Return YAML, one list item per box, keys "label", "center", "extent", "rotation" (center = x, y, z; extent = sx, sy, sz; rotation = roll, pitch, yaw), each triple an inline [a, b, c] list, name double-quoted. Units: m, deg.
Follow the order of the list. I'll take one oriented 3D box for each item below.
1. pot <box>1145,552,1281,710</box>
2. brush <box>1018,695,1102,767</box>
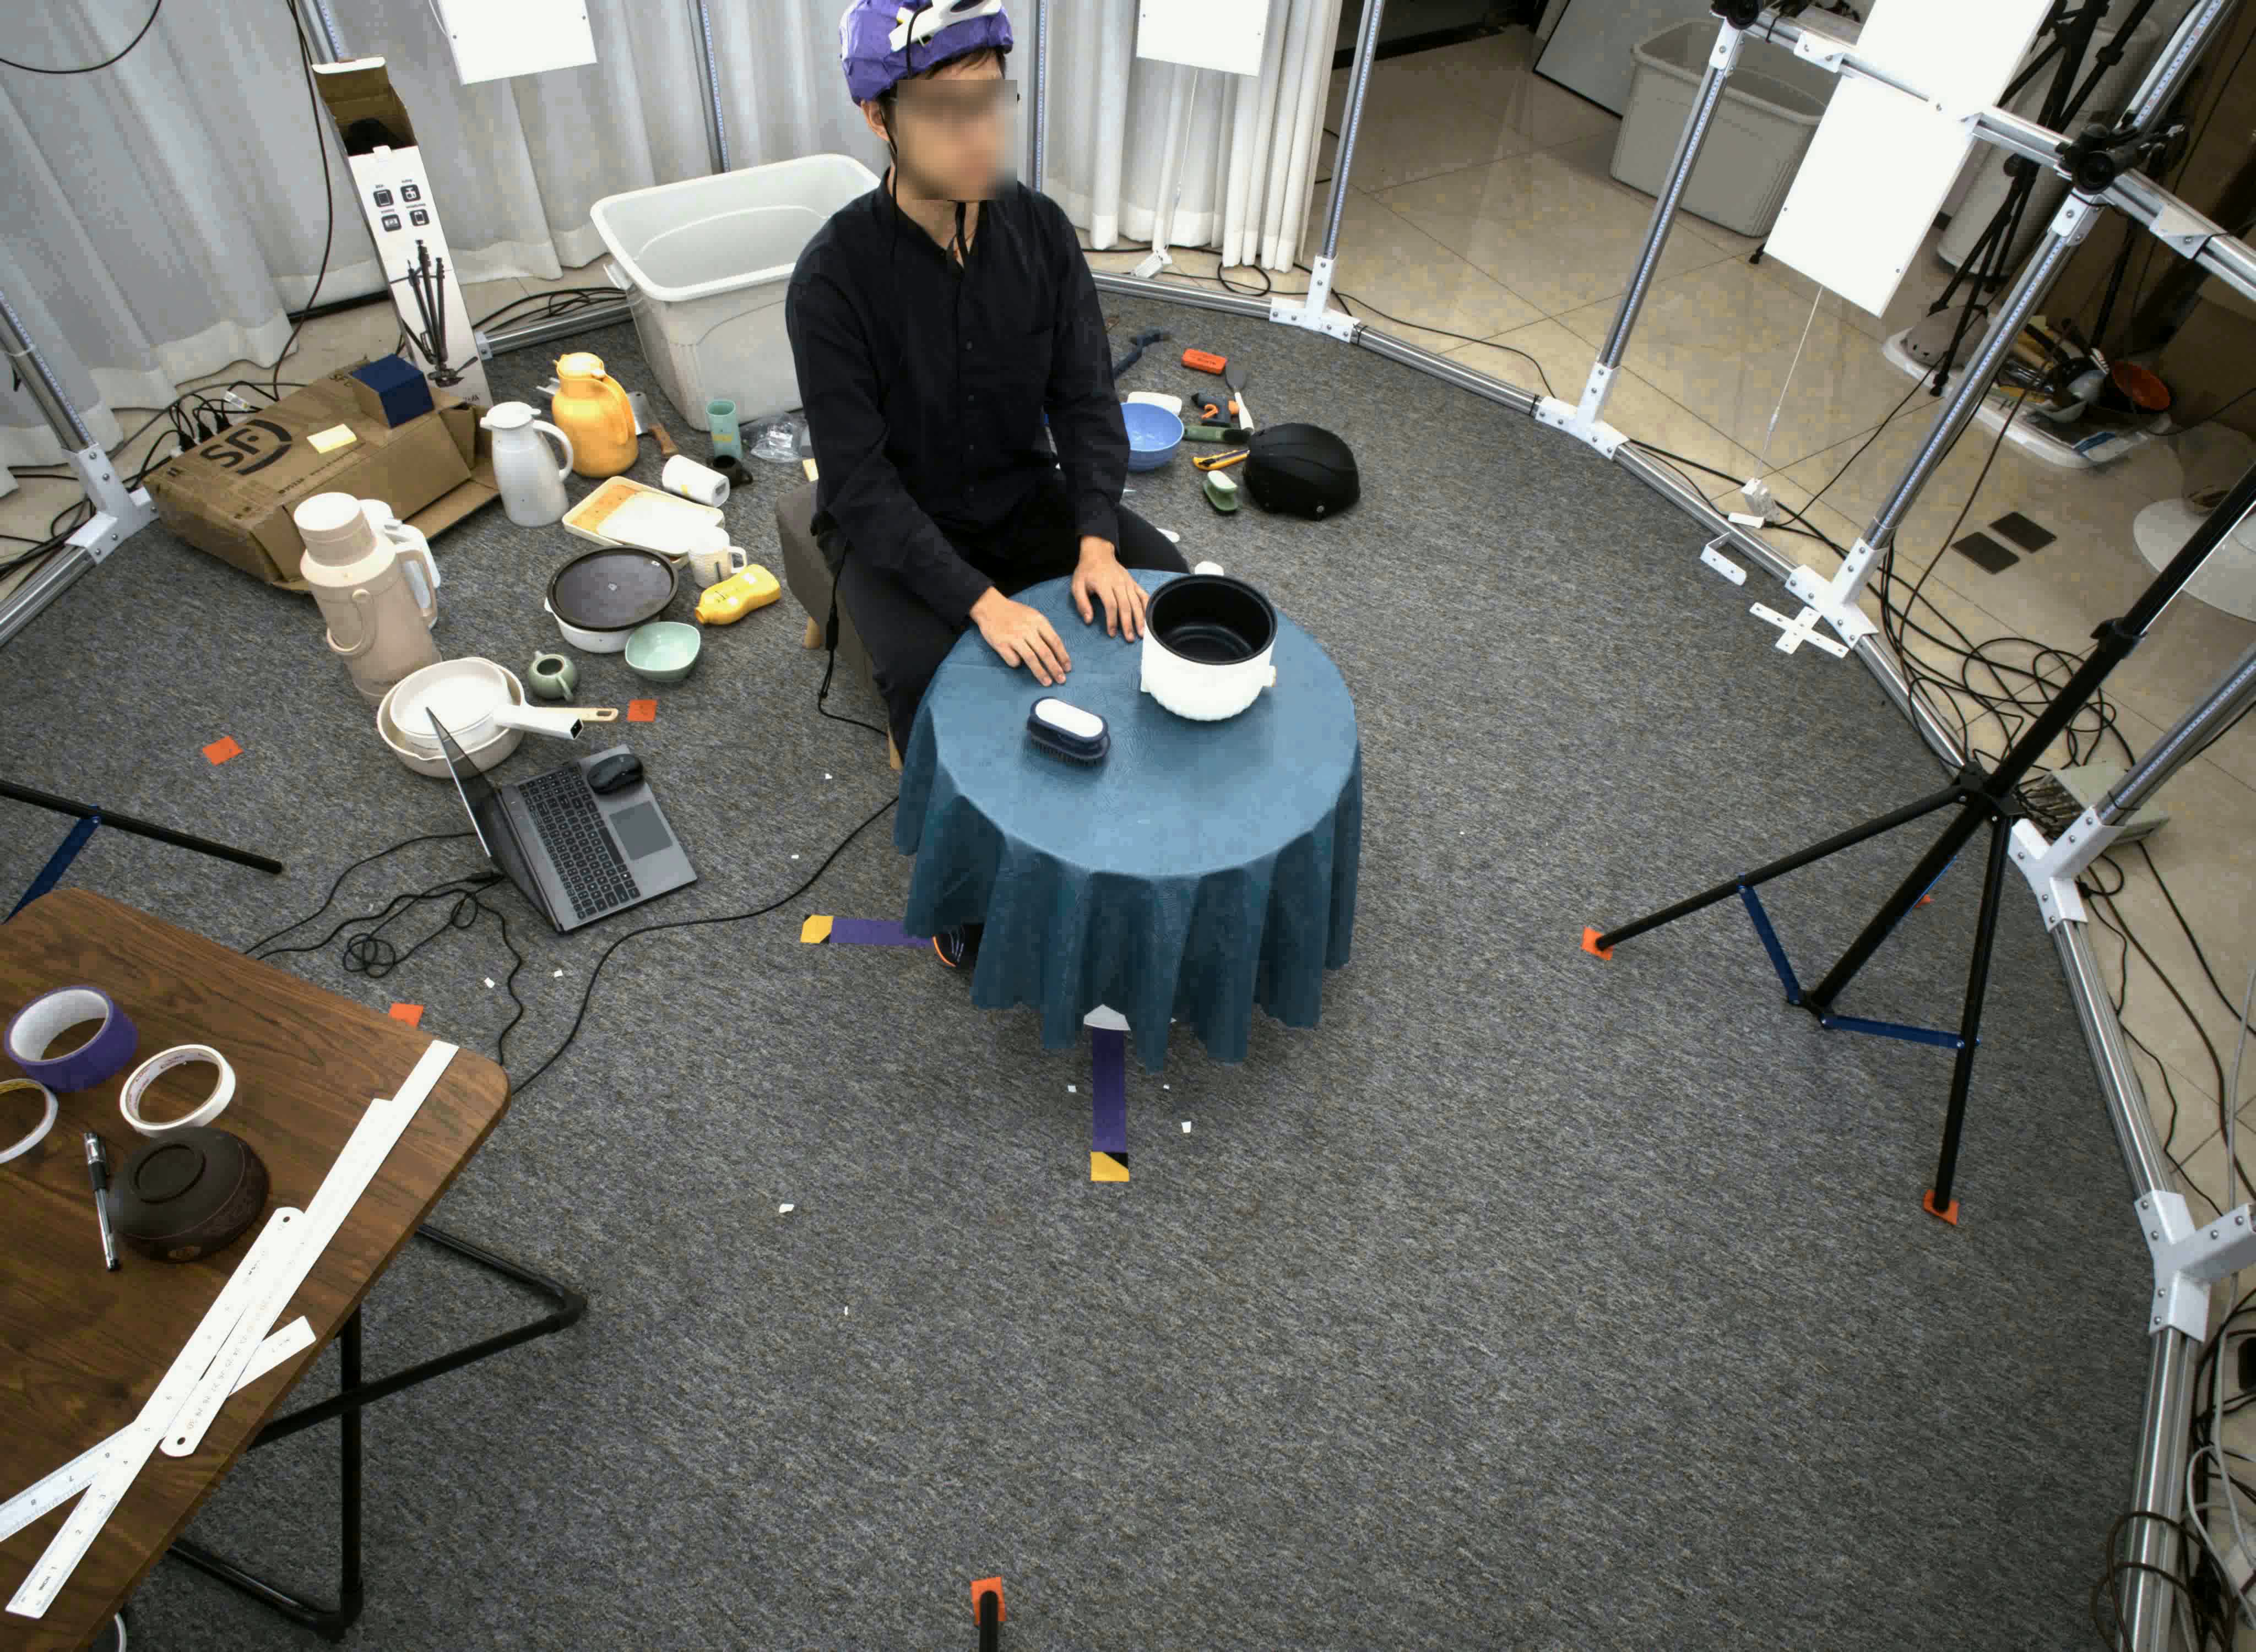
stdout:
- label: "pot"
  center: [0.120, -0.260, 1.805]
  extent: [0.190, 0.139, 0.246]
  rotation: [0, 51, -1]
- label: "brush"
  center: [-0.092, -0.127, 1.741]
  extent: [0.122, 0.060, 0.069]
  rotation: [29, 56, 15]
